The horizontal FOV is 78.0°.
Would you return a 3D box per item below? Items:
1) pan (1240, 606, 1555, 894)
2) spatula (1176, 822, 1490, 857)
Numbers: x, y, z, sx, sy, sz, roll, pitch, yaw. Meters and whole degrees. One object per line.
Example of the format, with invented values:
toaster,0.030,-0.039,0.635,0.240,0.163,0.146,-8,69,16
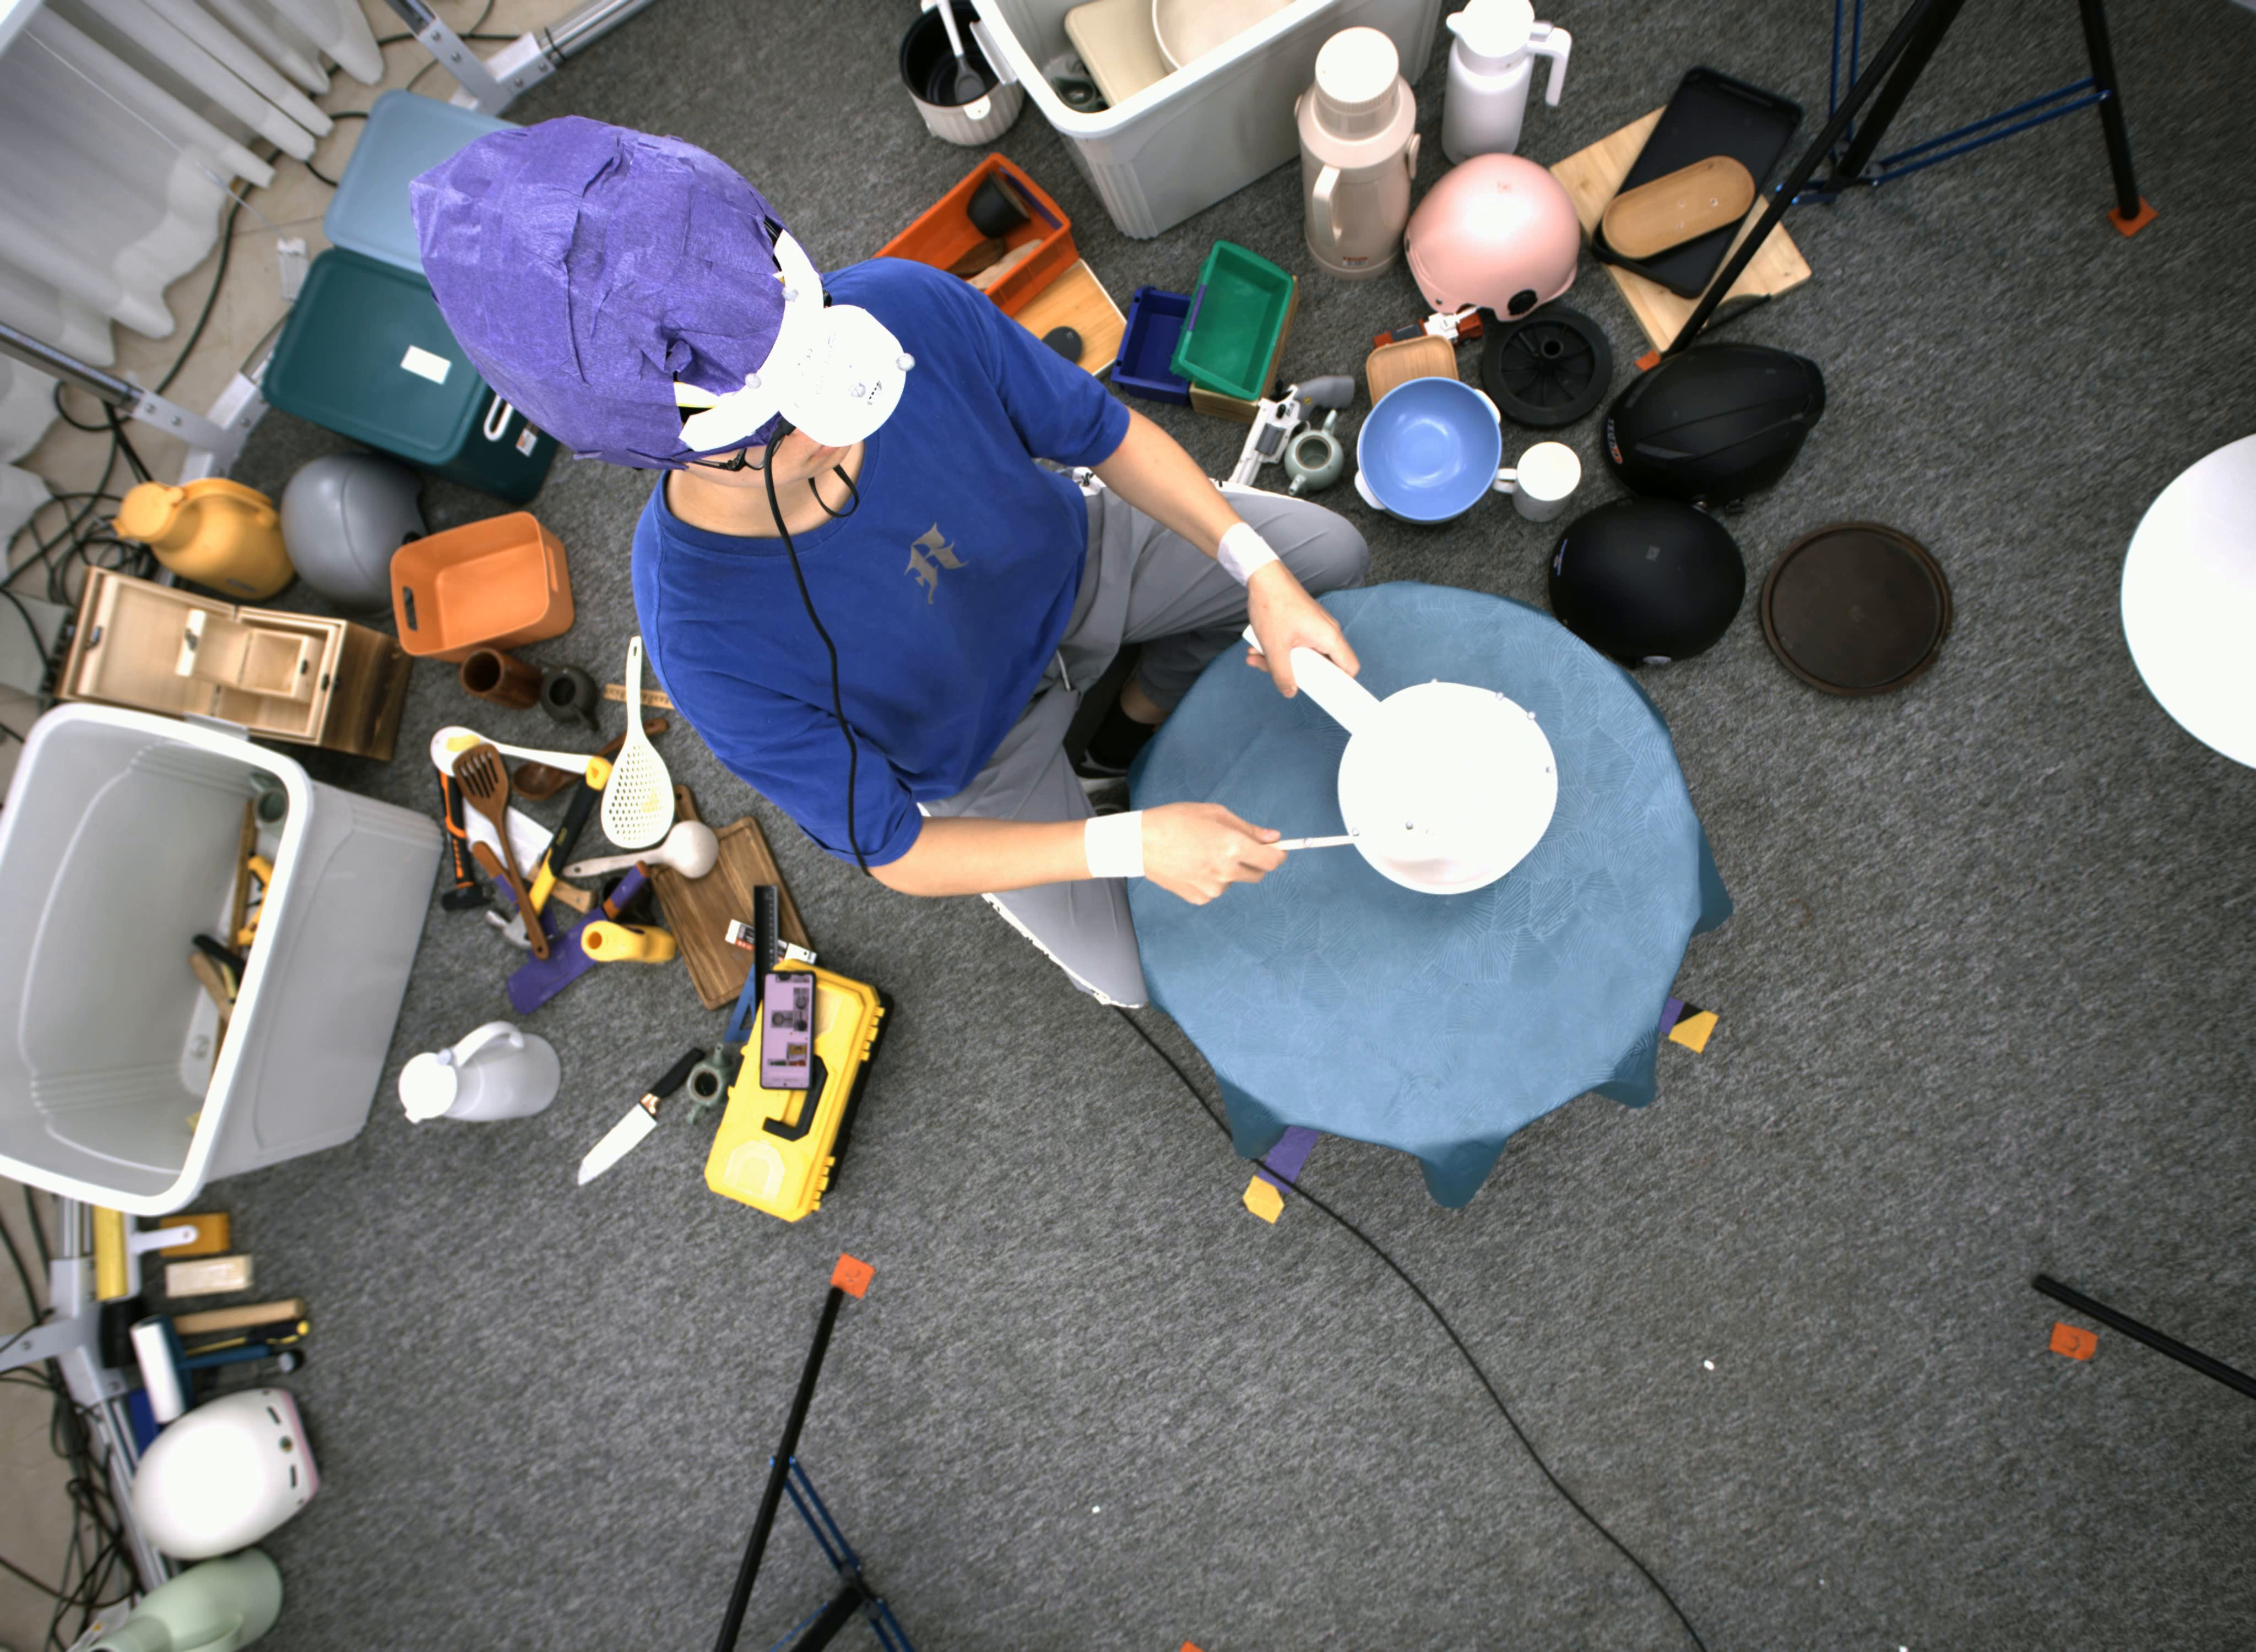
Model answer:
pan,0.263,-0.092,1.367,0.352,0.100,0.205,44,119,15
spatula,0.191,0.013,1.300,0.293,0.072,0.010,-5,87,0
